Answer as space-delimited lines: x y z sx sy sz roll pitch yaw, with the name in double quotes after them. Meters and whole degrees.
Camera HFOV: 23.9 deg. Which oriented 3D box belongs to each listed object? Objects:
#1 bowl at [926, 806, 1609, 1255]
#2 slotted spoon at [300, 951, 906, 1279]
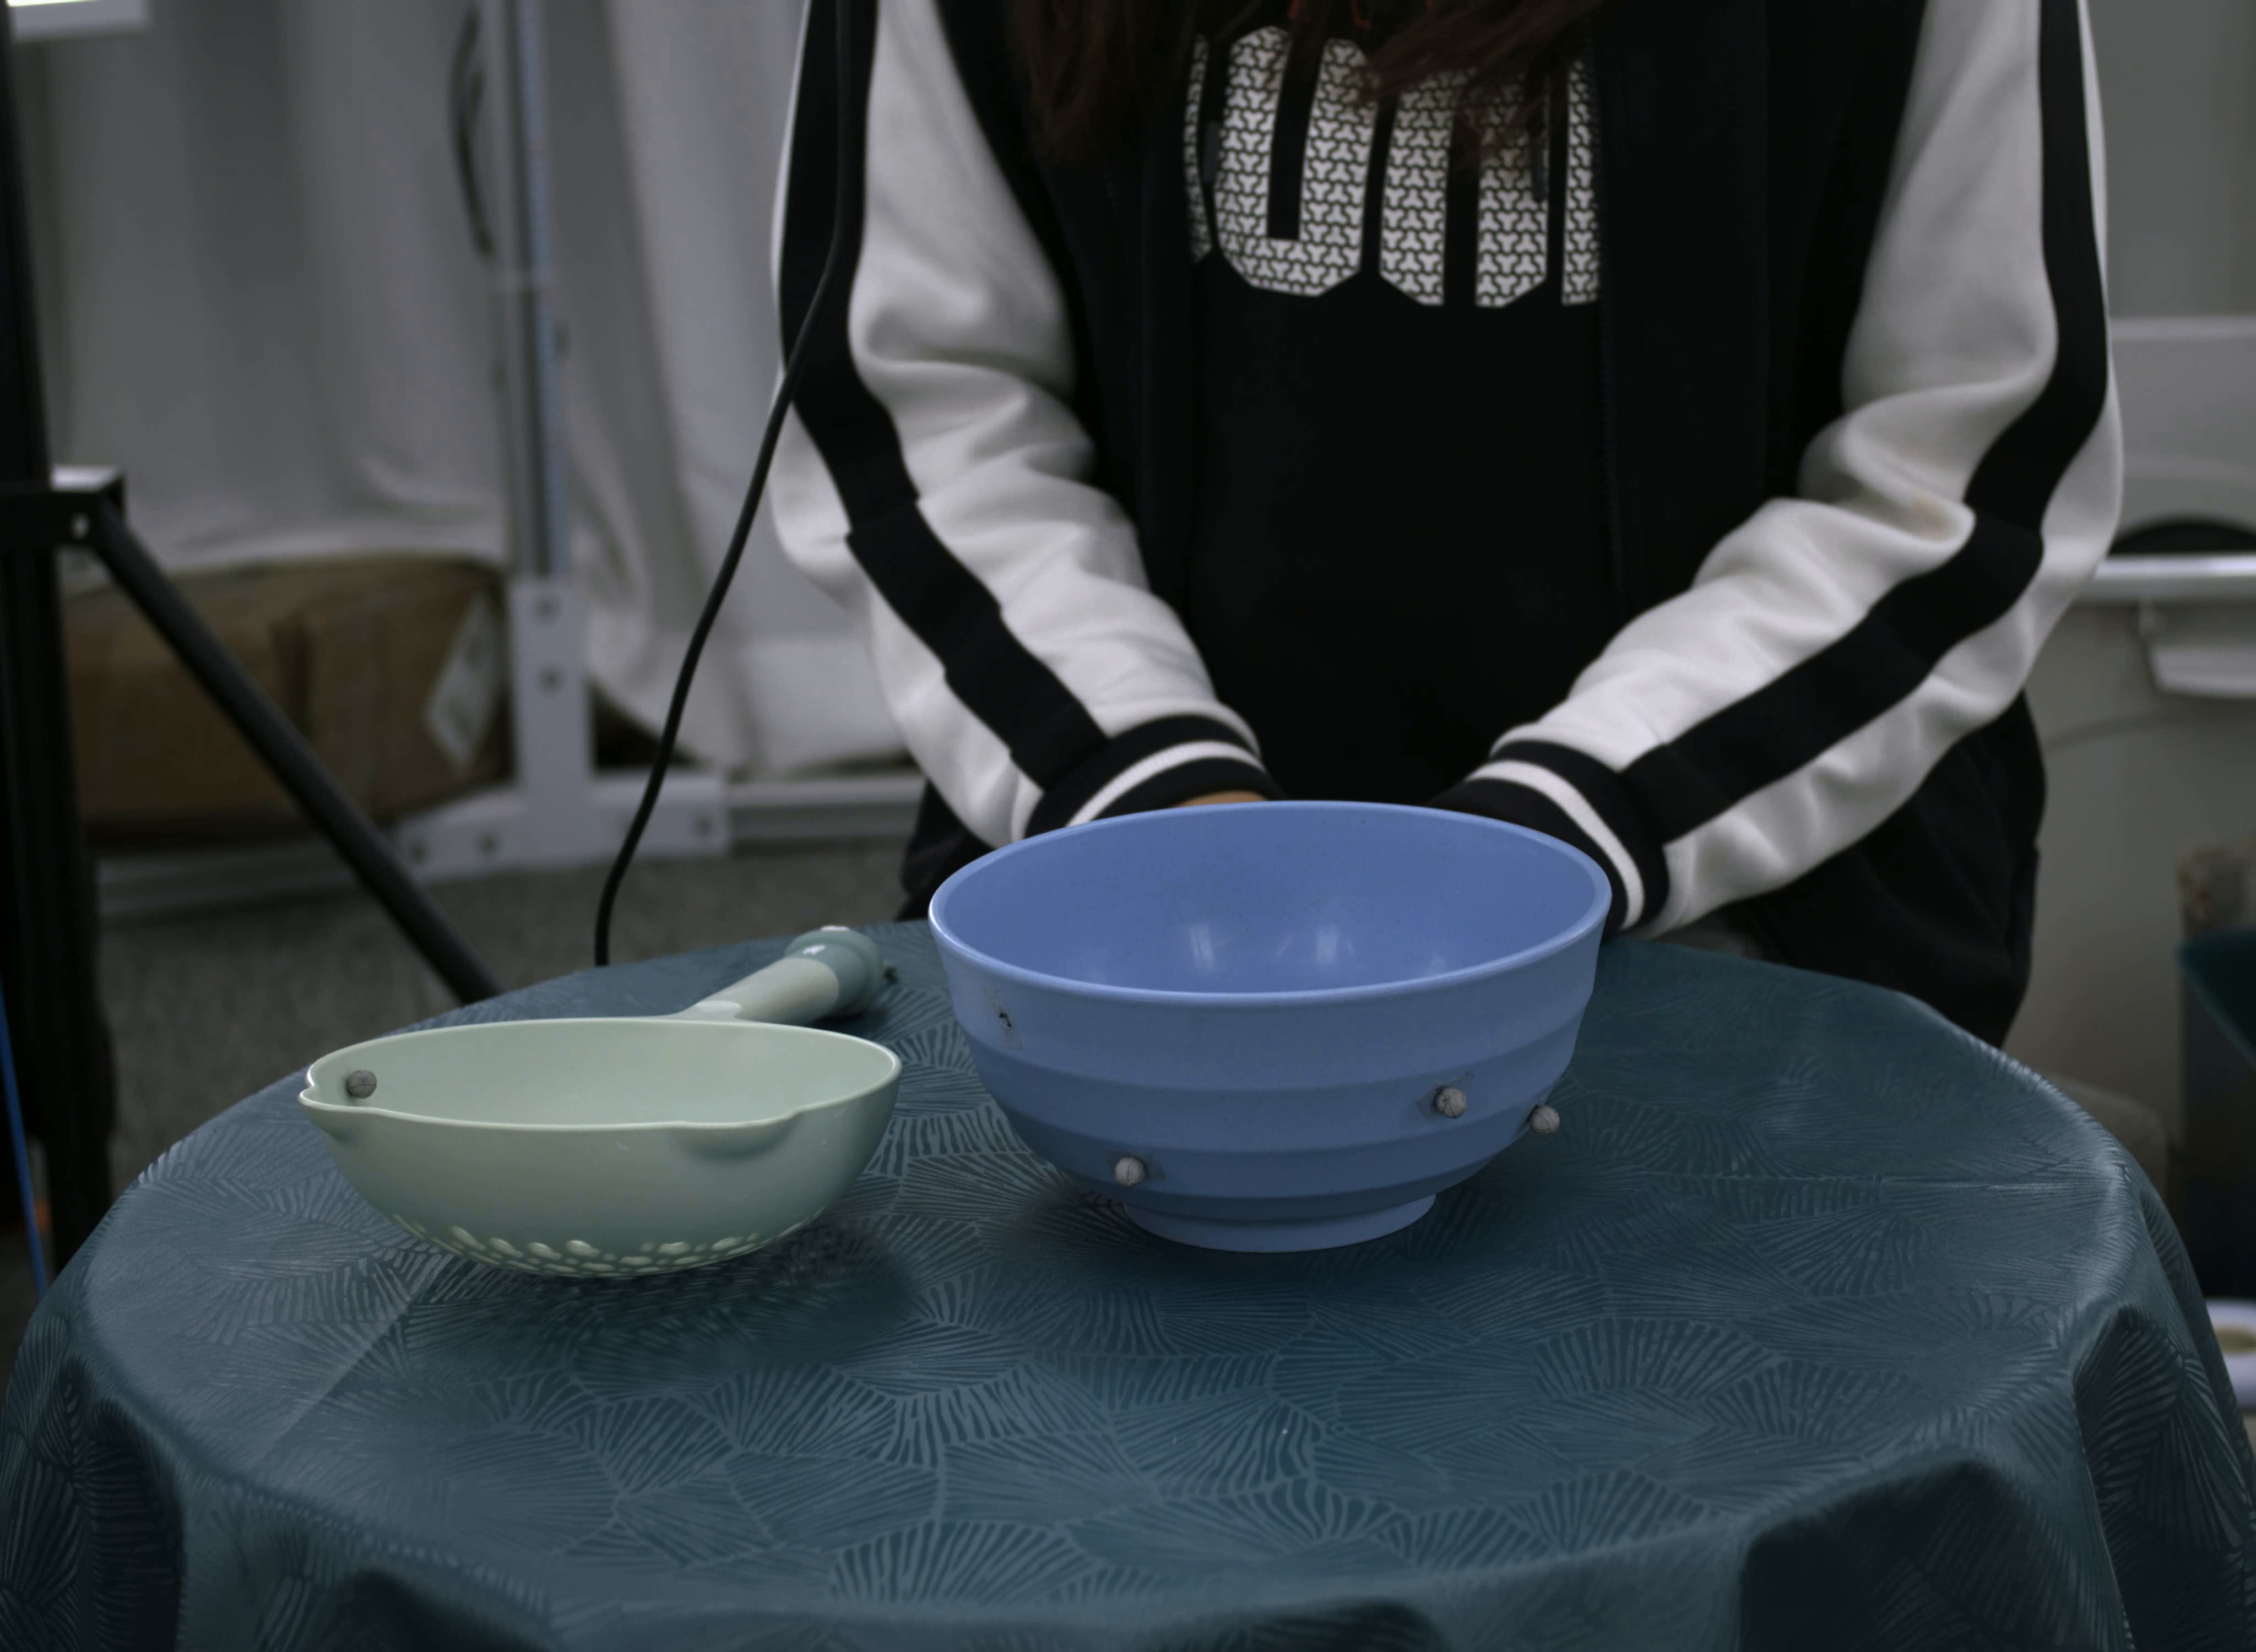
0.042 0.064 1.533 0.195 0.095 0.197 -3 15 -1 "bowl"
-0.125 0.071 1.604 0.170 0.075 0.356 2 15 13 "slotted spoon"
